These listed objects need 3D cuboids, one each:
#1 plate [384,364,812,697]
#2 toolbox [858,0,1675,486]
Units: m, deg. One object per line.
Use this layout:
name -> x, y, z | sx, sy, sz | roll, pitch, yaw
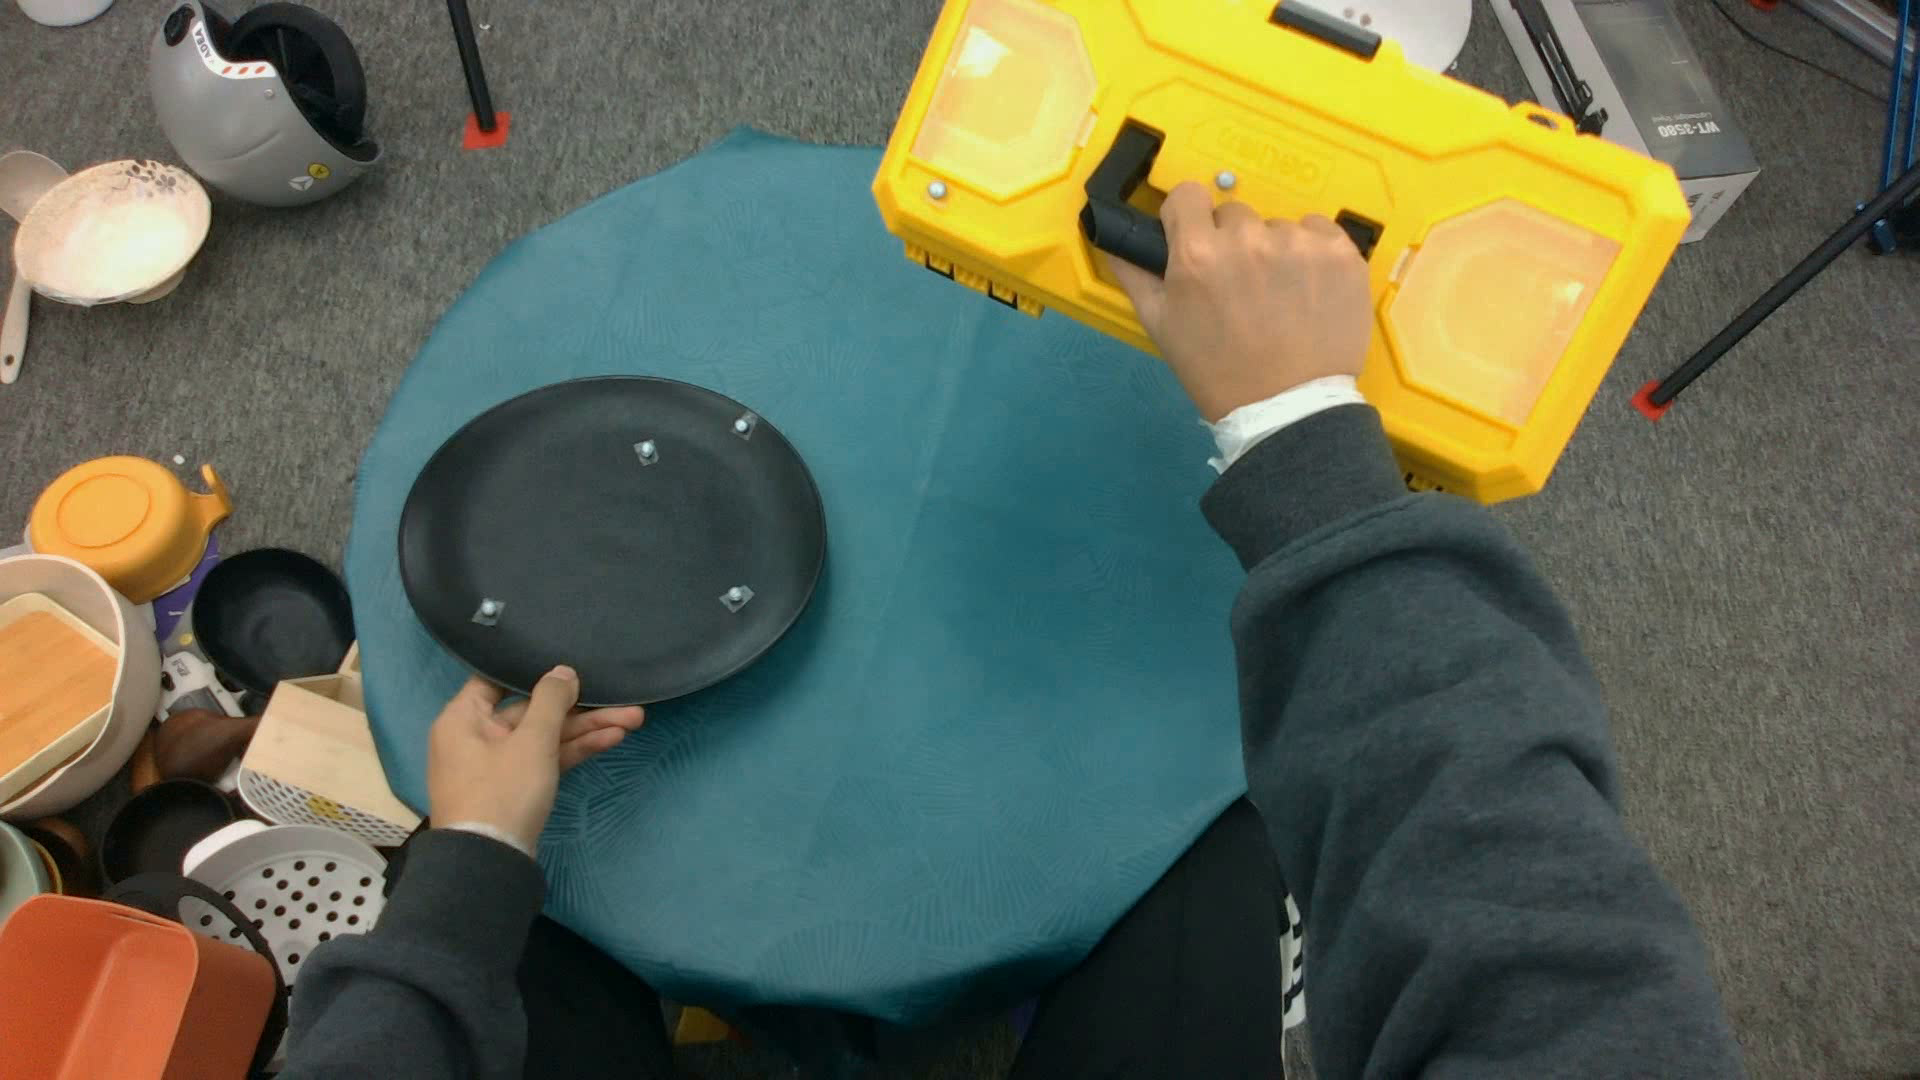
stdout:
plate -> -0.210, -0.008, 0.818 | 0.244, 0.023, 0.245 | 6, 53, -8
toolbox -> 0.144, -0.174, 0.688 | 0.351, 0.173, 0.181 | 27, 106, 12
